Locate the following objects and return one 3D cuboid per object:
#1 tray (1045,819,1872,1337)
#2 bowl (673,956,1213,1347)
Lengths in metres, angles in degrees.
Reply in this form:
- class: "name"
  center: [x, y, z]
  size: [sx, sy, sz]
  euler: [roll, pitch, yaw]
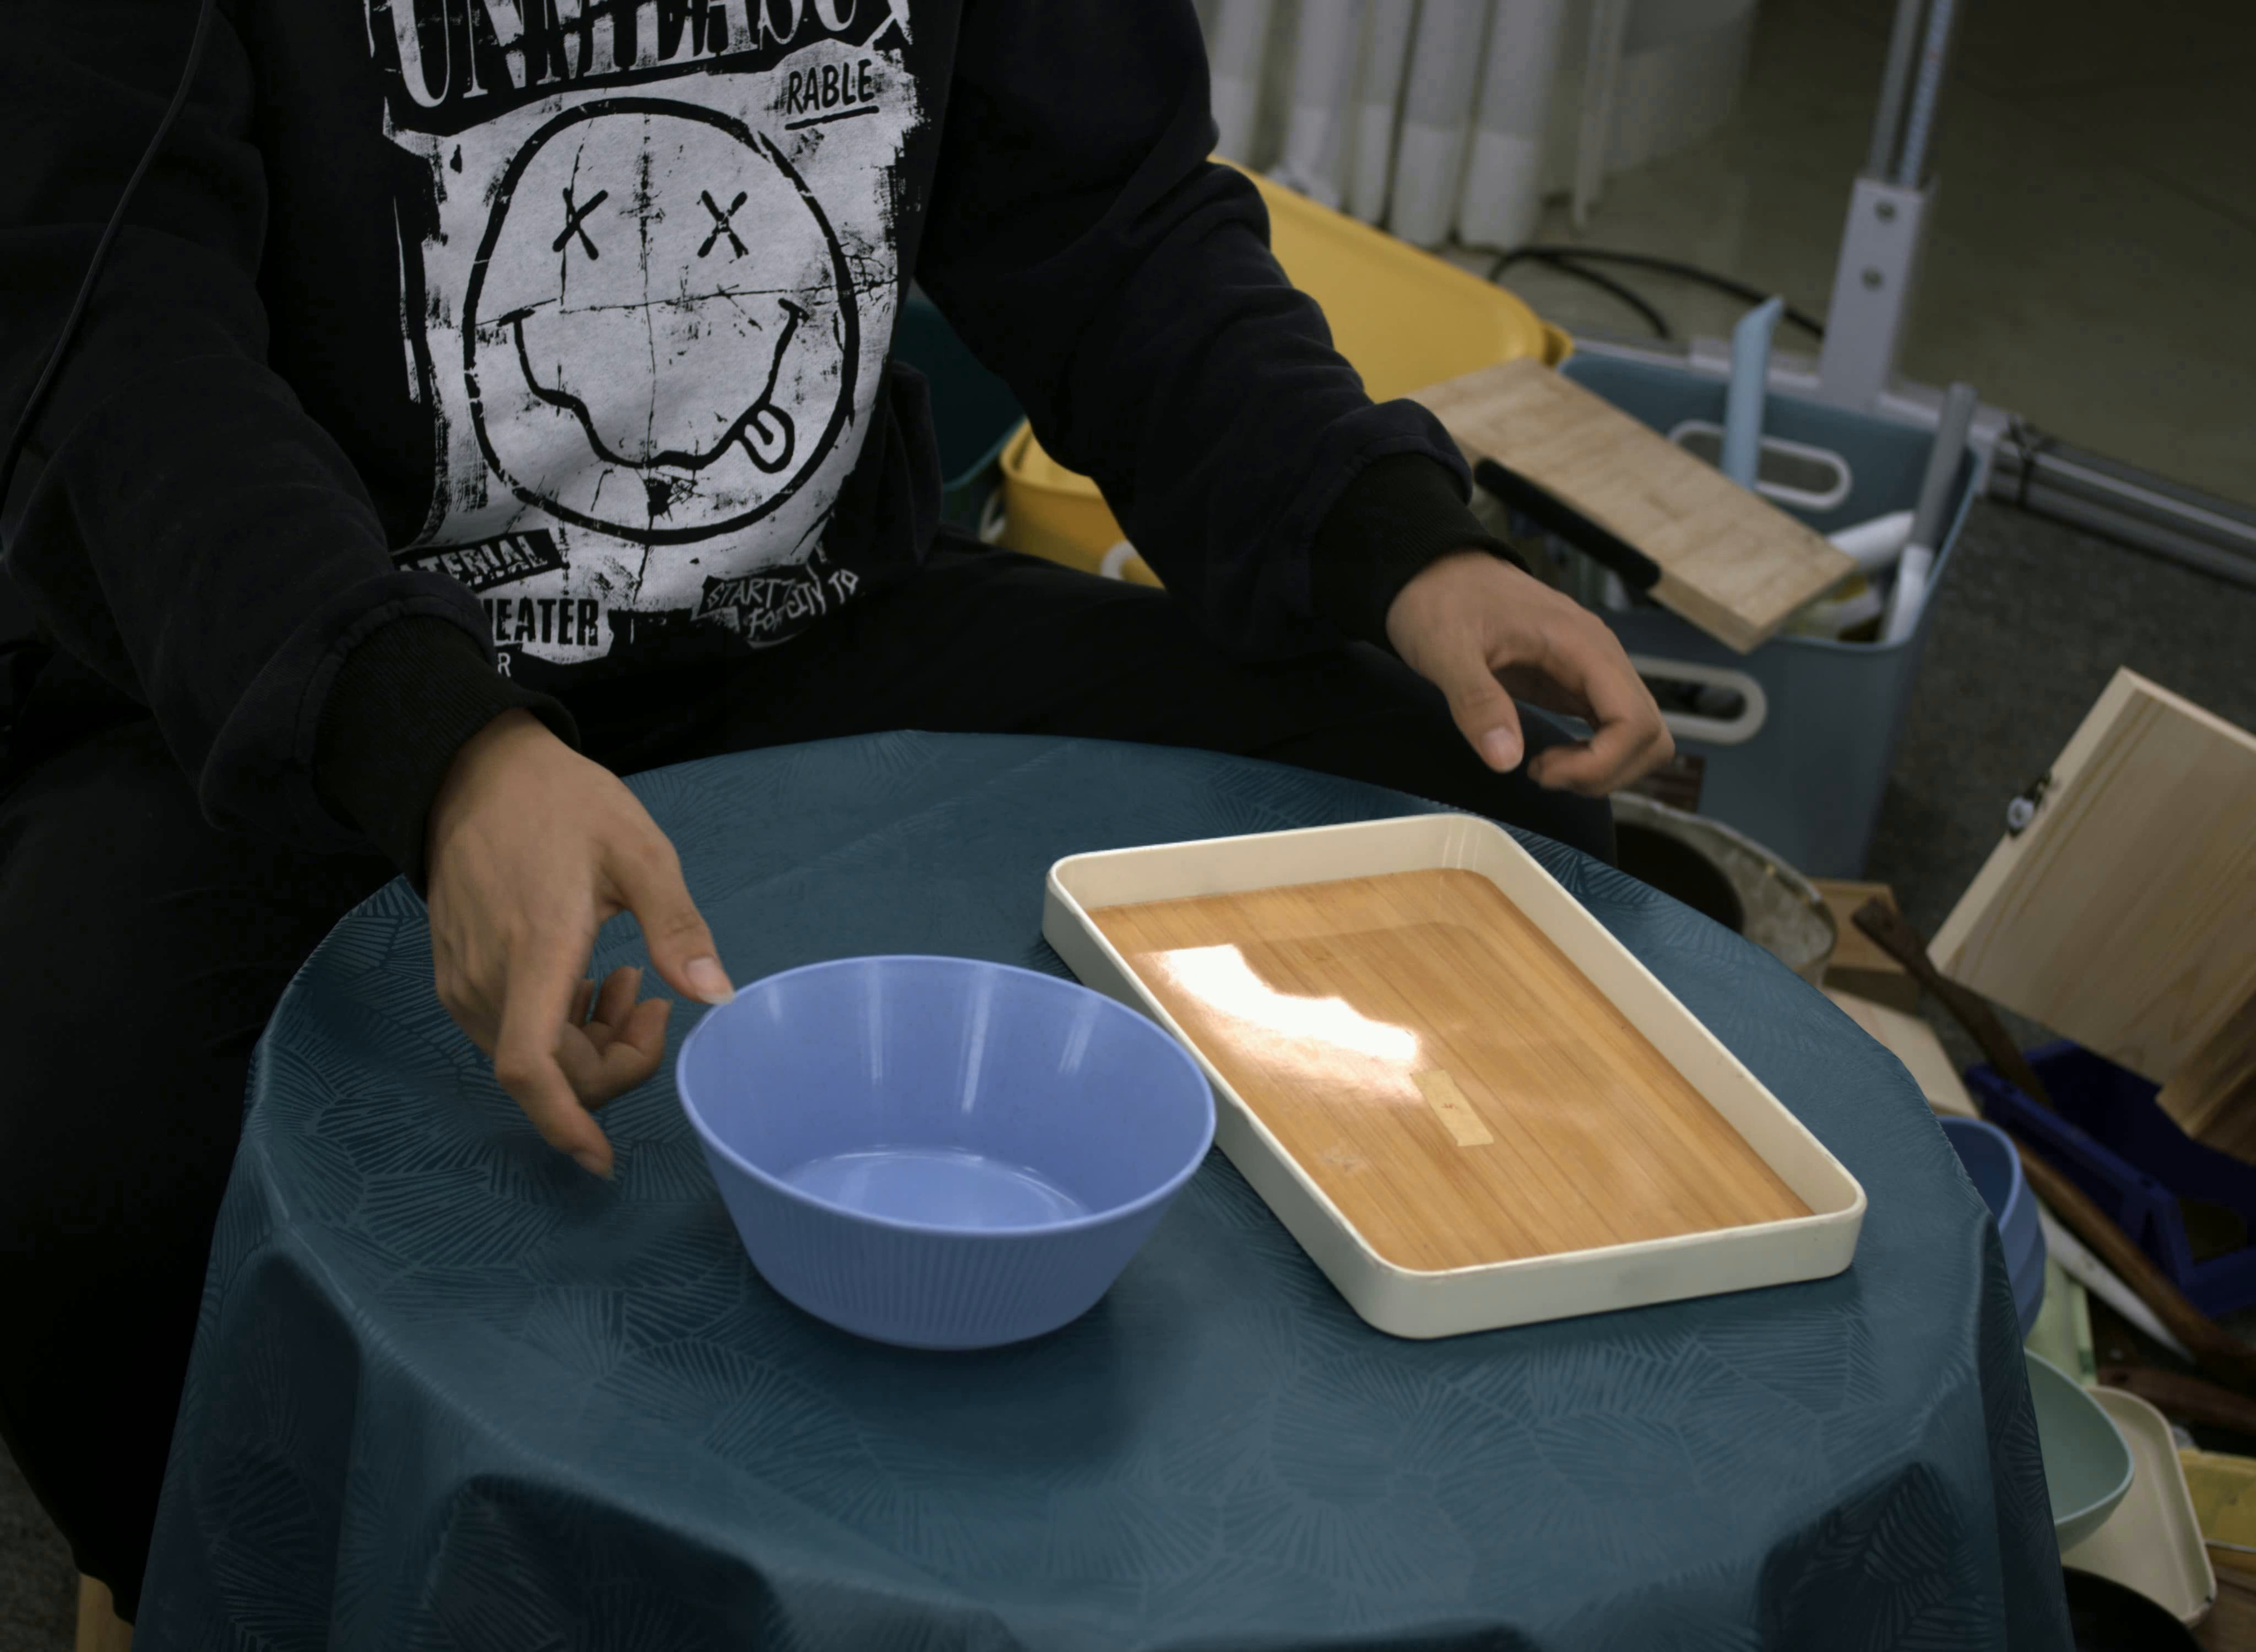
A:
- class: "tray"
  center: [0.110, 0.083, 1.877]
  size: [0.190, 0.027, 0.303]
  euler: [-5, 29, -24]
- class: "bowl"
  center: [-0.063, 0.112, 1.730]
  size: [0.175, 0.070, 0.177]
  euler: [6, 27, -3]
